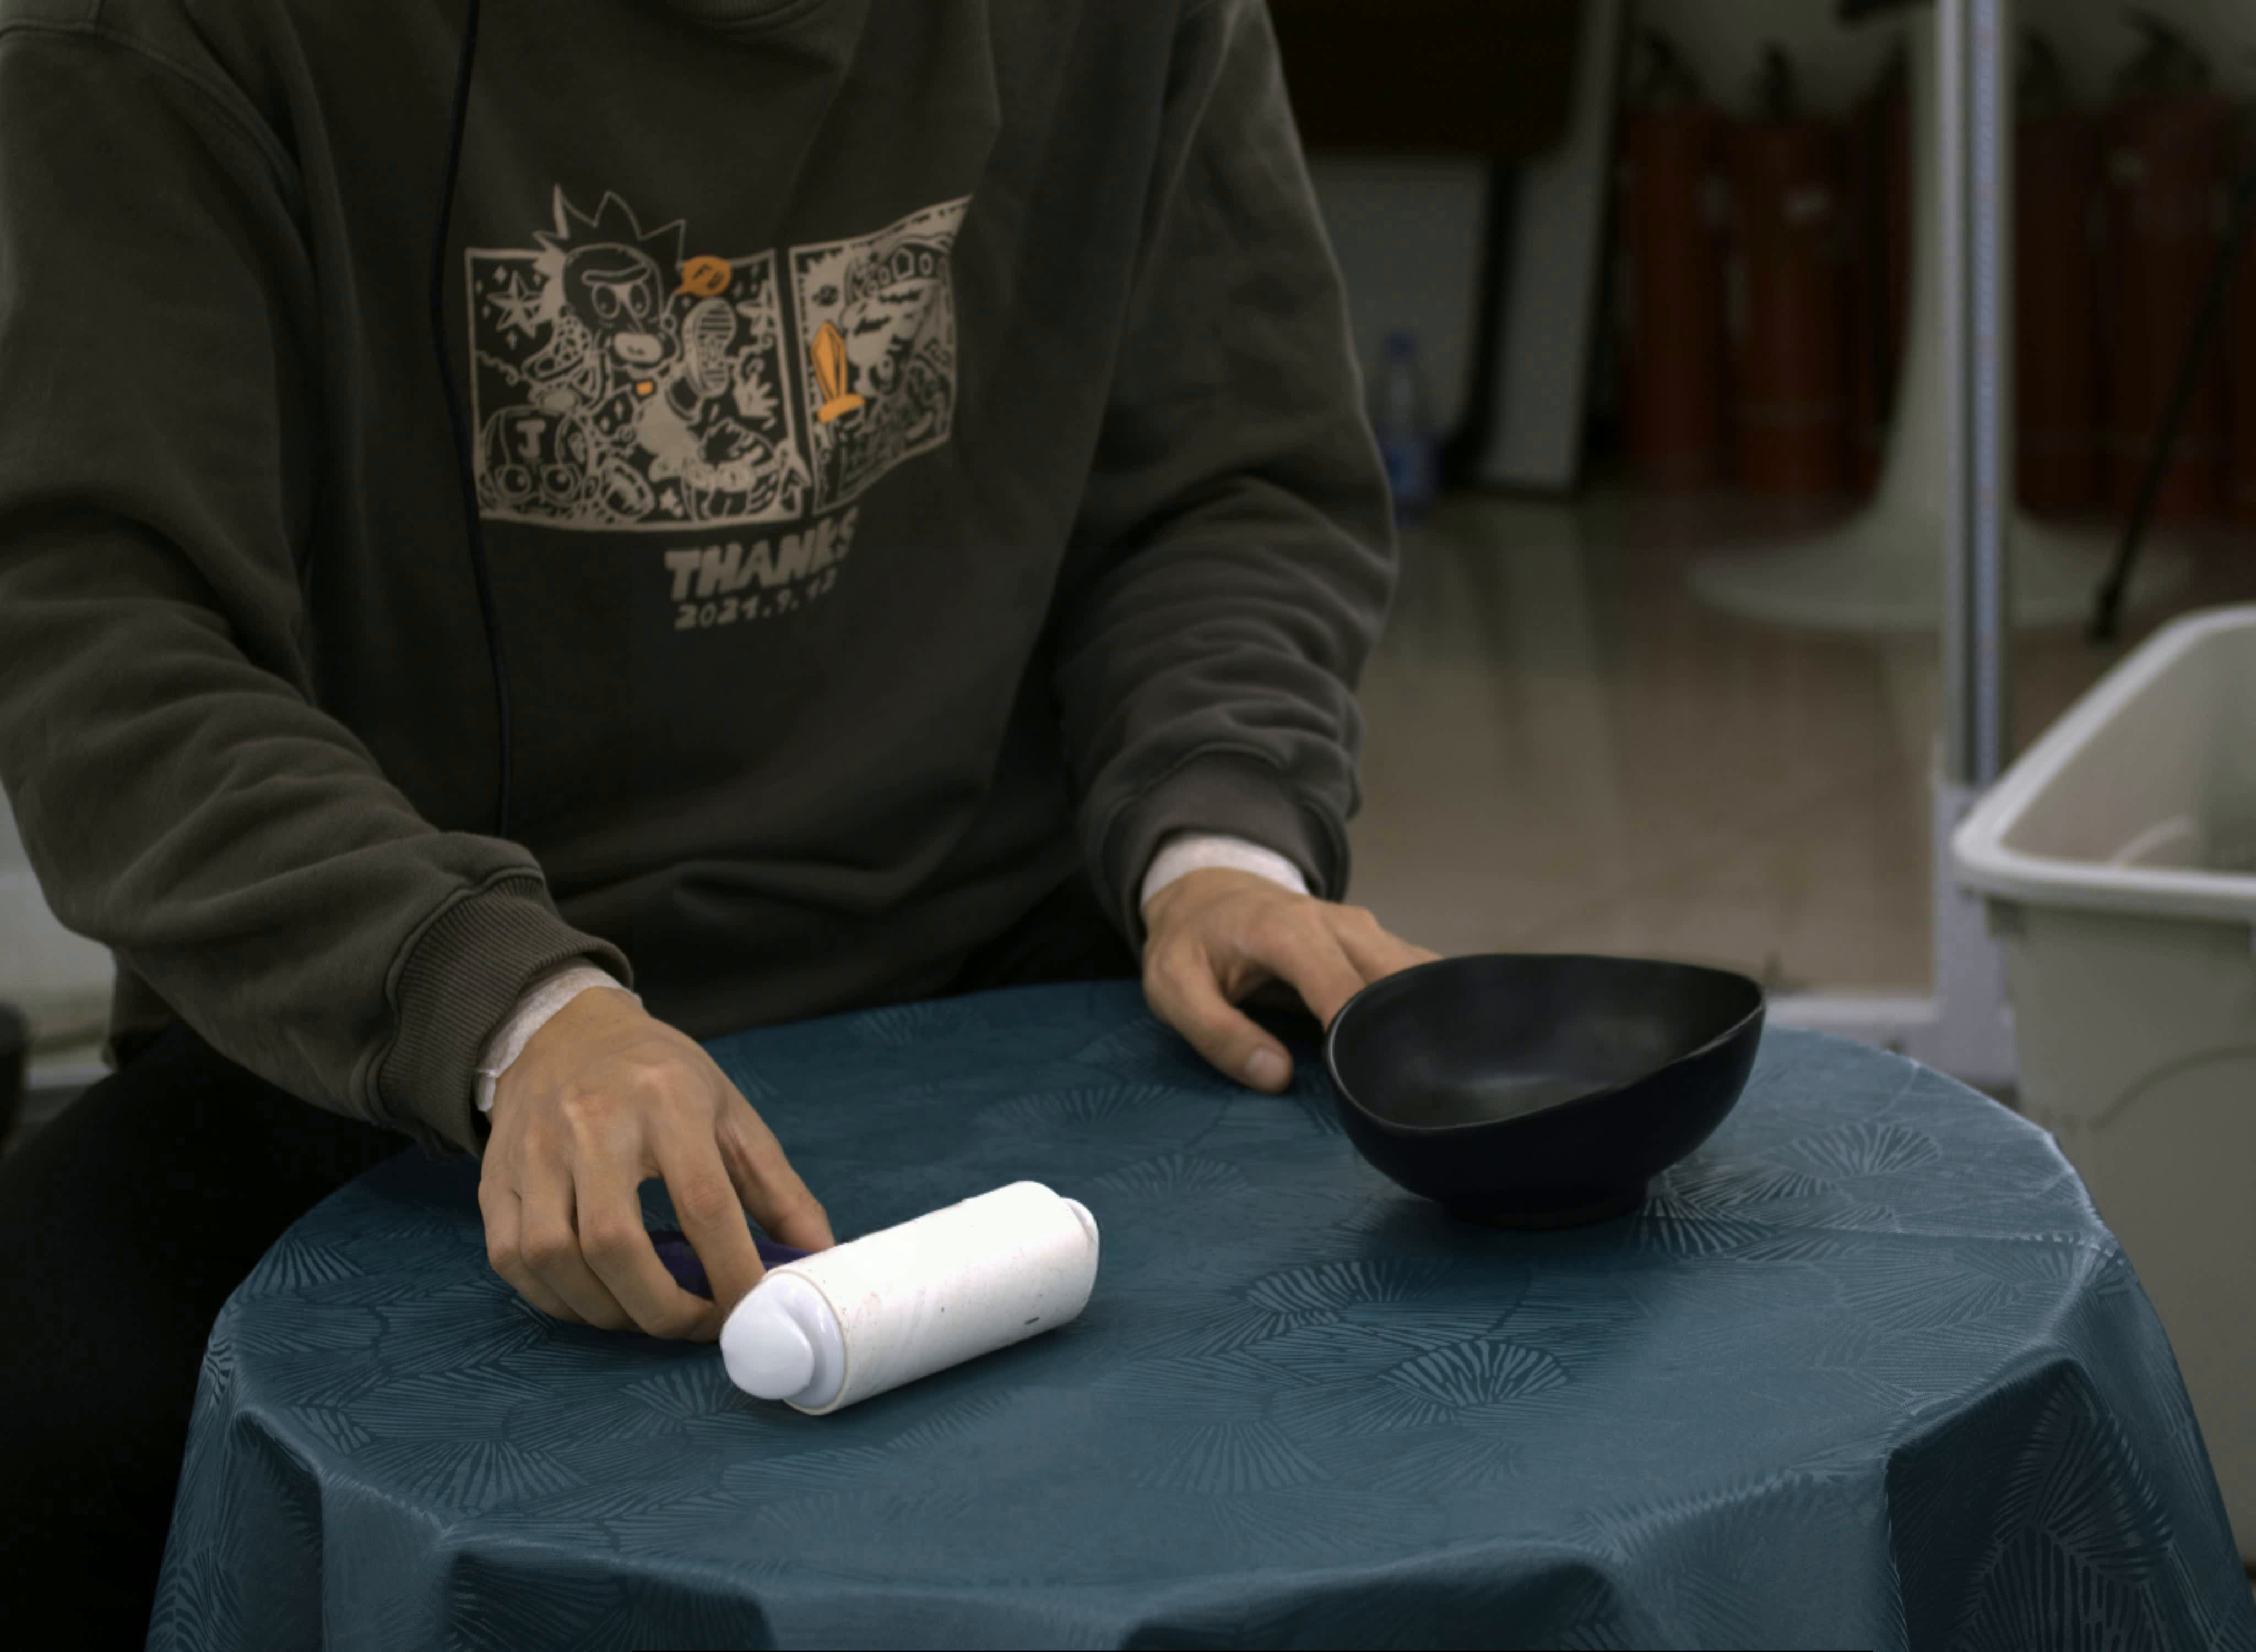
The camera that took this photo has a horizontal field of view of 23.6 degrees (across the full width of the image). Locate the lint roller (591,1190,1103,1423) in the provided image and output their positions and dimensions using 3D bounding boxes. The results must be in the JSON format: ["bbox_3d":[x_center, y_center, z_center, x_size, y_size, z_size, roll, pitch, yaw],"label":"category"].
[{"bbox_3d":[-0.105,0.132,1.662,0.130,0.051,0.182,-15,20,-39],"label":"lint roller"}]

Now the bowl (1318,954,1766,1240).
[{"bbox_3d":[0.135,0.091,1.728,0.138,0.067,0.167,3,17,32],"label":"bowl"}]
